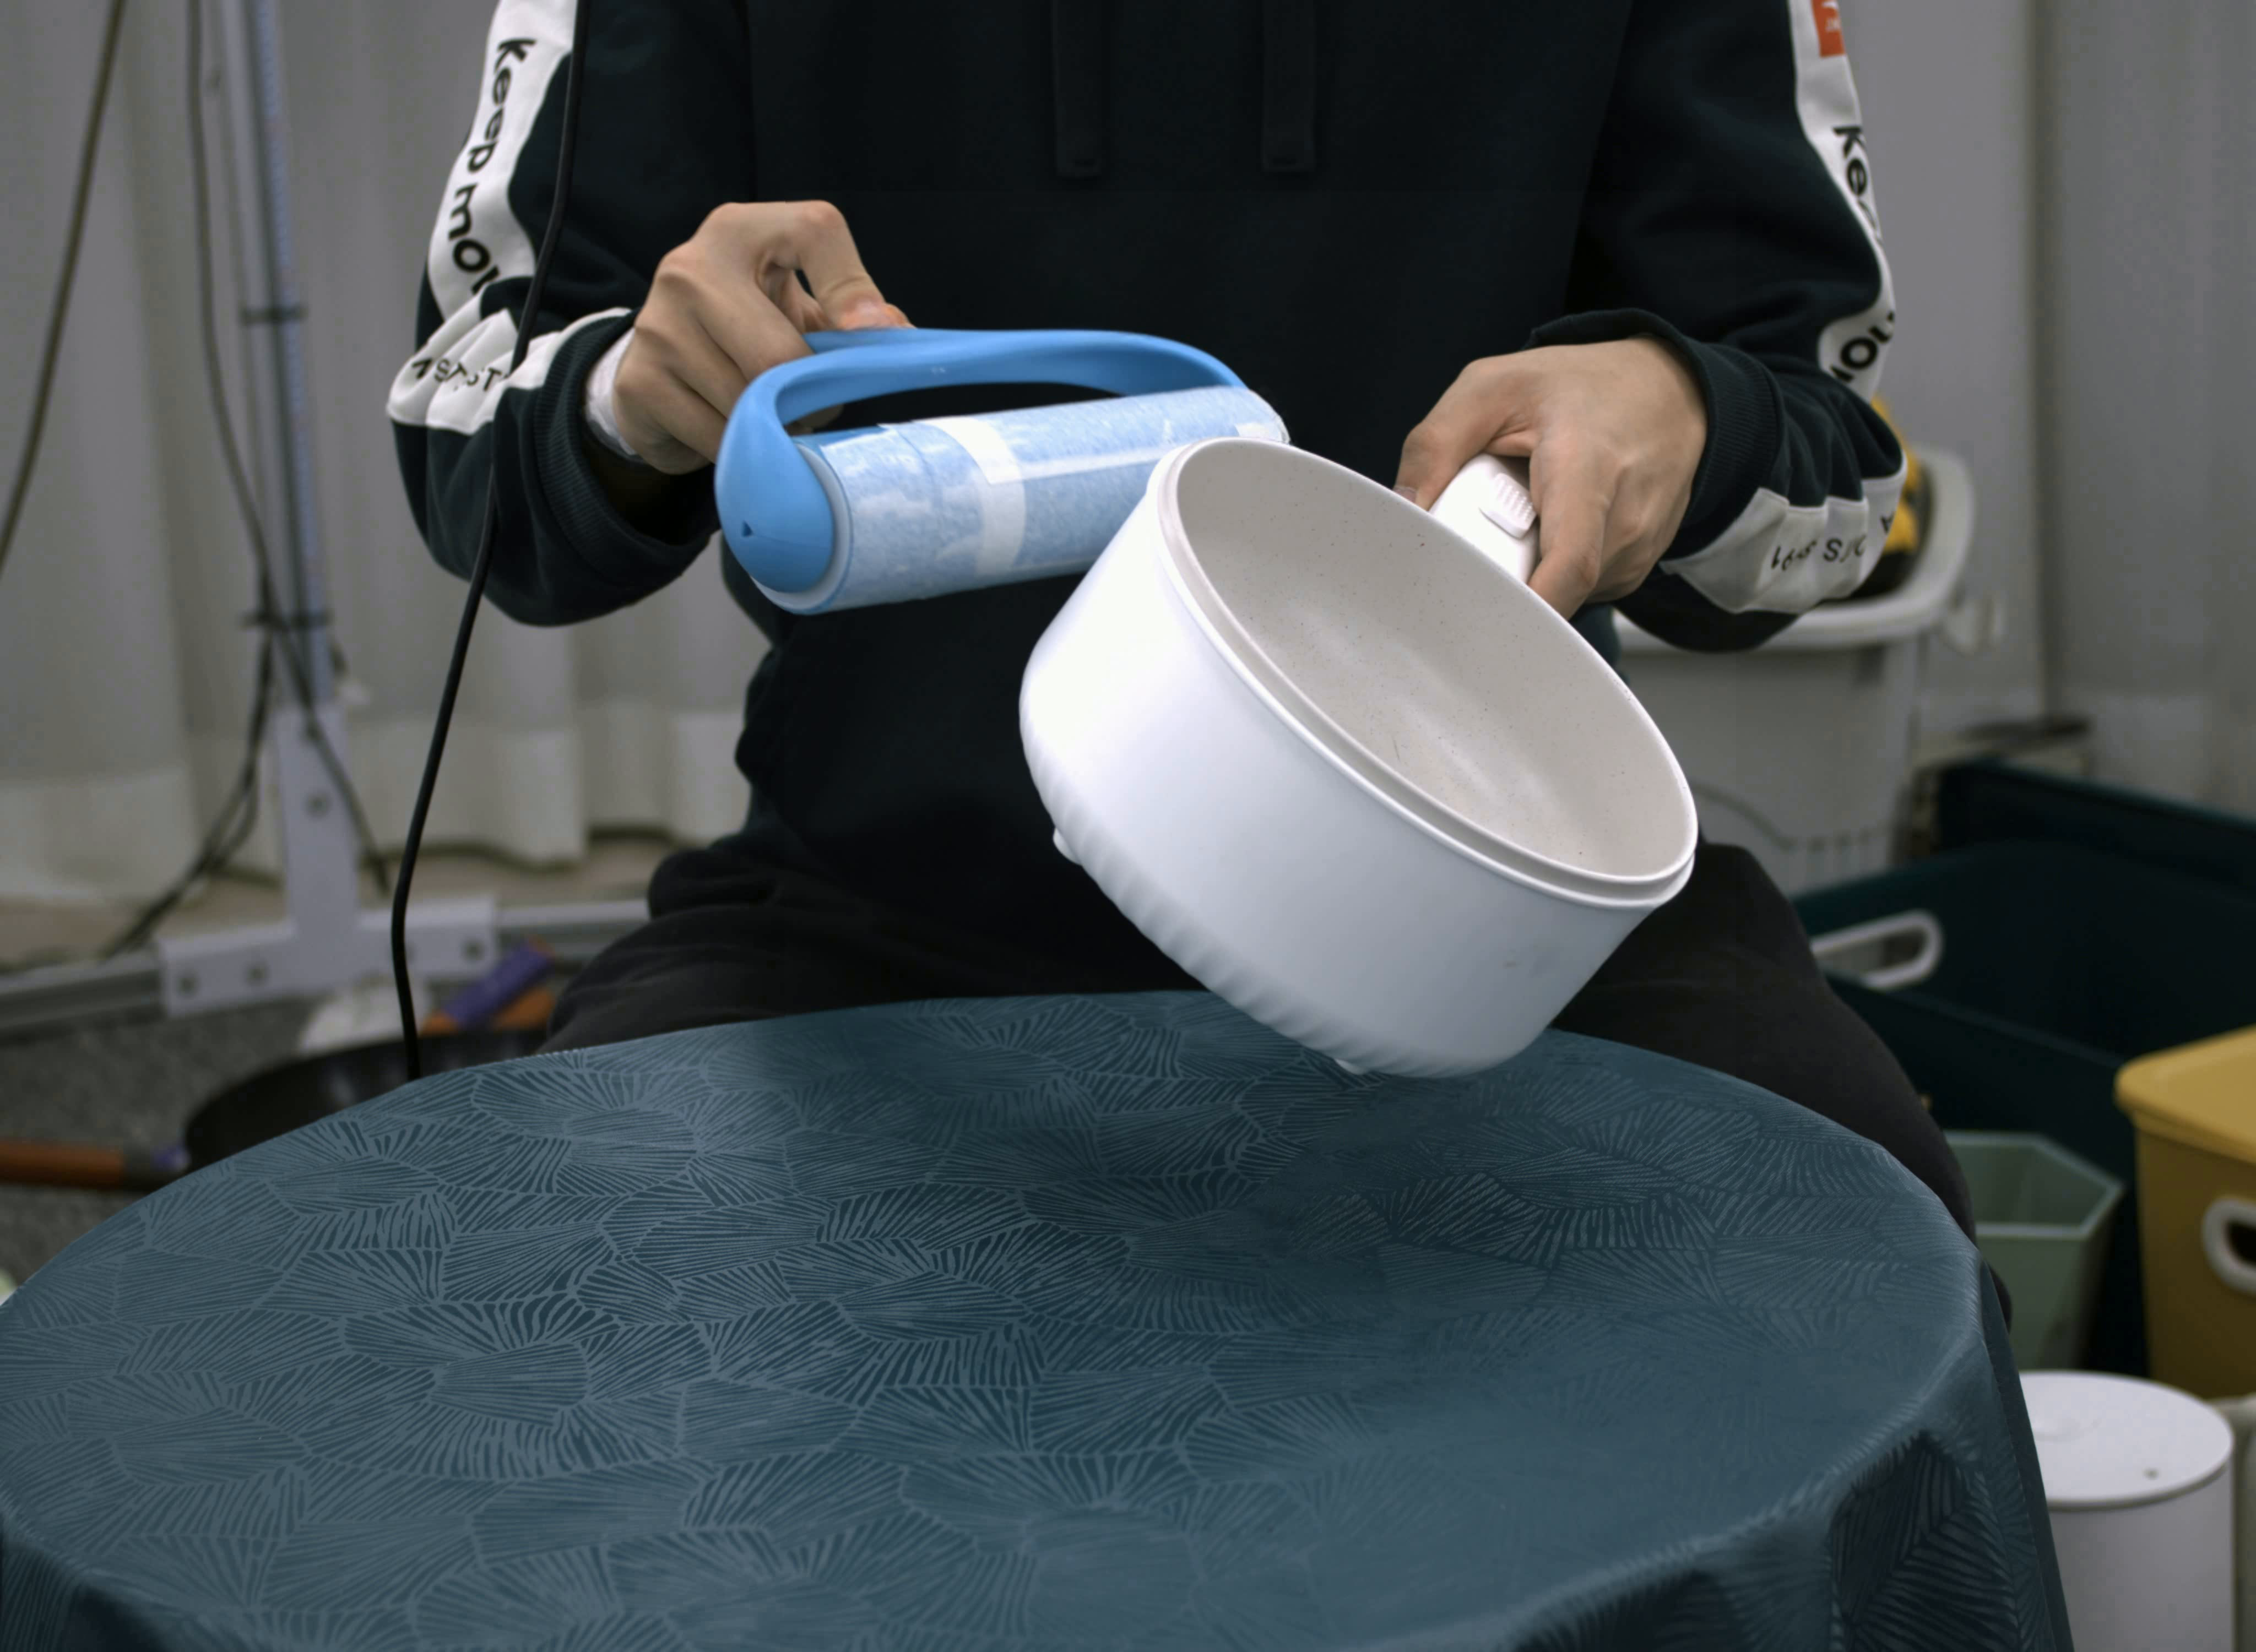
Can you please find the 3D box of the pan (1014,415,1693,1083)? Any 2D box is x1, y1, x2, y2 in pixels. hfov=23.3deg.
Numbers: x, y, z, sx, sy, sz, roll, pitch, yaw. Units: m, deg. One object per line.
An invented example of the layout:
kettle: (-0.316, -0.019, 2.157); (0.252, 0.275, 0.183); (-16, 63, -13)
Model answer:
pan: (0.076, -0.039, 1.720); (0.201, 0.101, 0.357); (36, 22, -2)

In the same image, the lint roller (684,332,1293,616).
lint roller: (-0.075, -0.125, 1.736); (0.182, 0.067, 0.228); (25, 26, 36)
